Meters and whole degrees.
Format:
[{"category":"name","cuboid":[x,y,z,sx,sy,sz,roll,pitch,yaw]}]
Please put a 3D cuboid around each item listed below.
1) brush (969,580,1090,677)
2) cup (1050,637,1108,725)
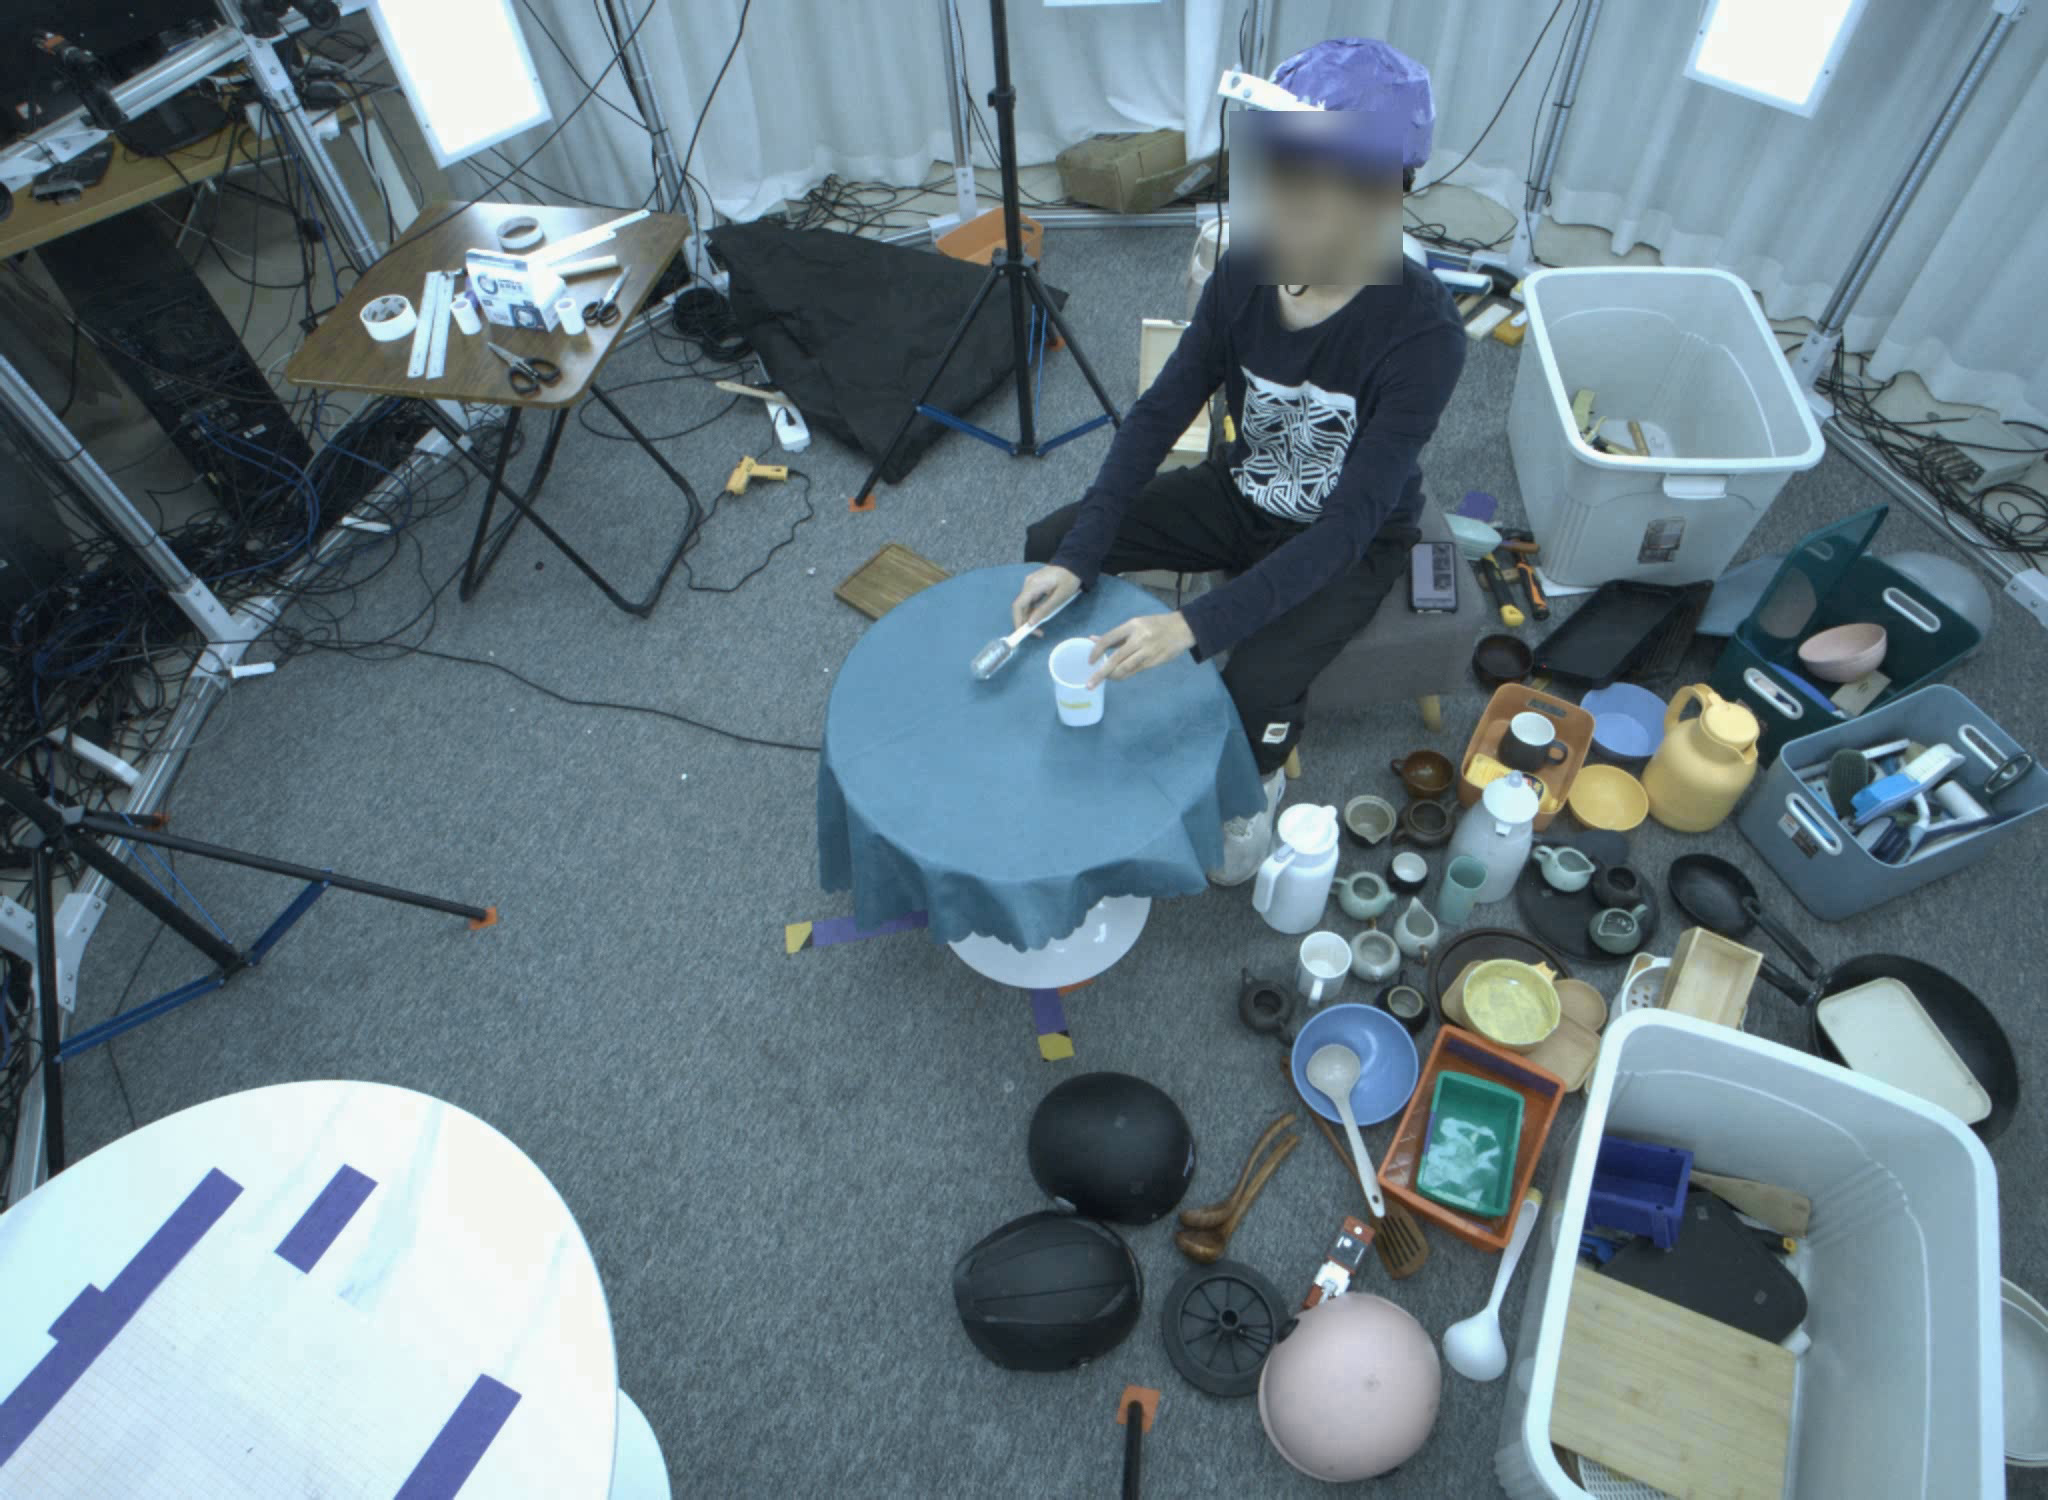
[{"category":"brush","cuboid":[0.013,-0.193,1.866,0.245,0.050,0.034,-40,84,-19]},{"category":"cup","cuboid":[0.079,-0.093,1.762,0.081,0.126,0.081,-1,62,2]}]
